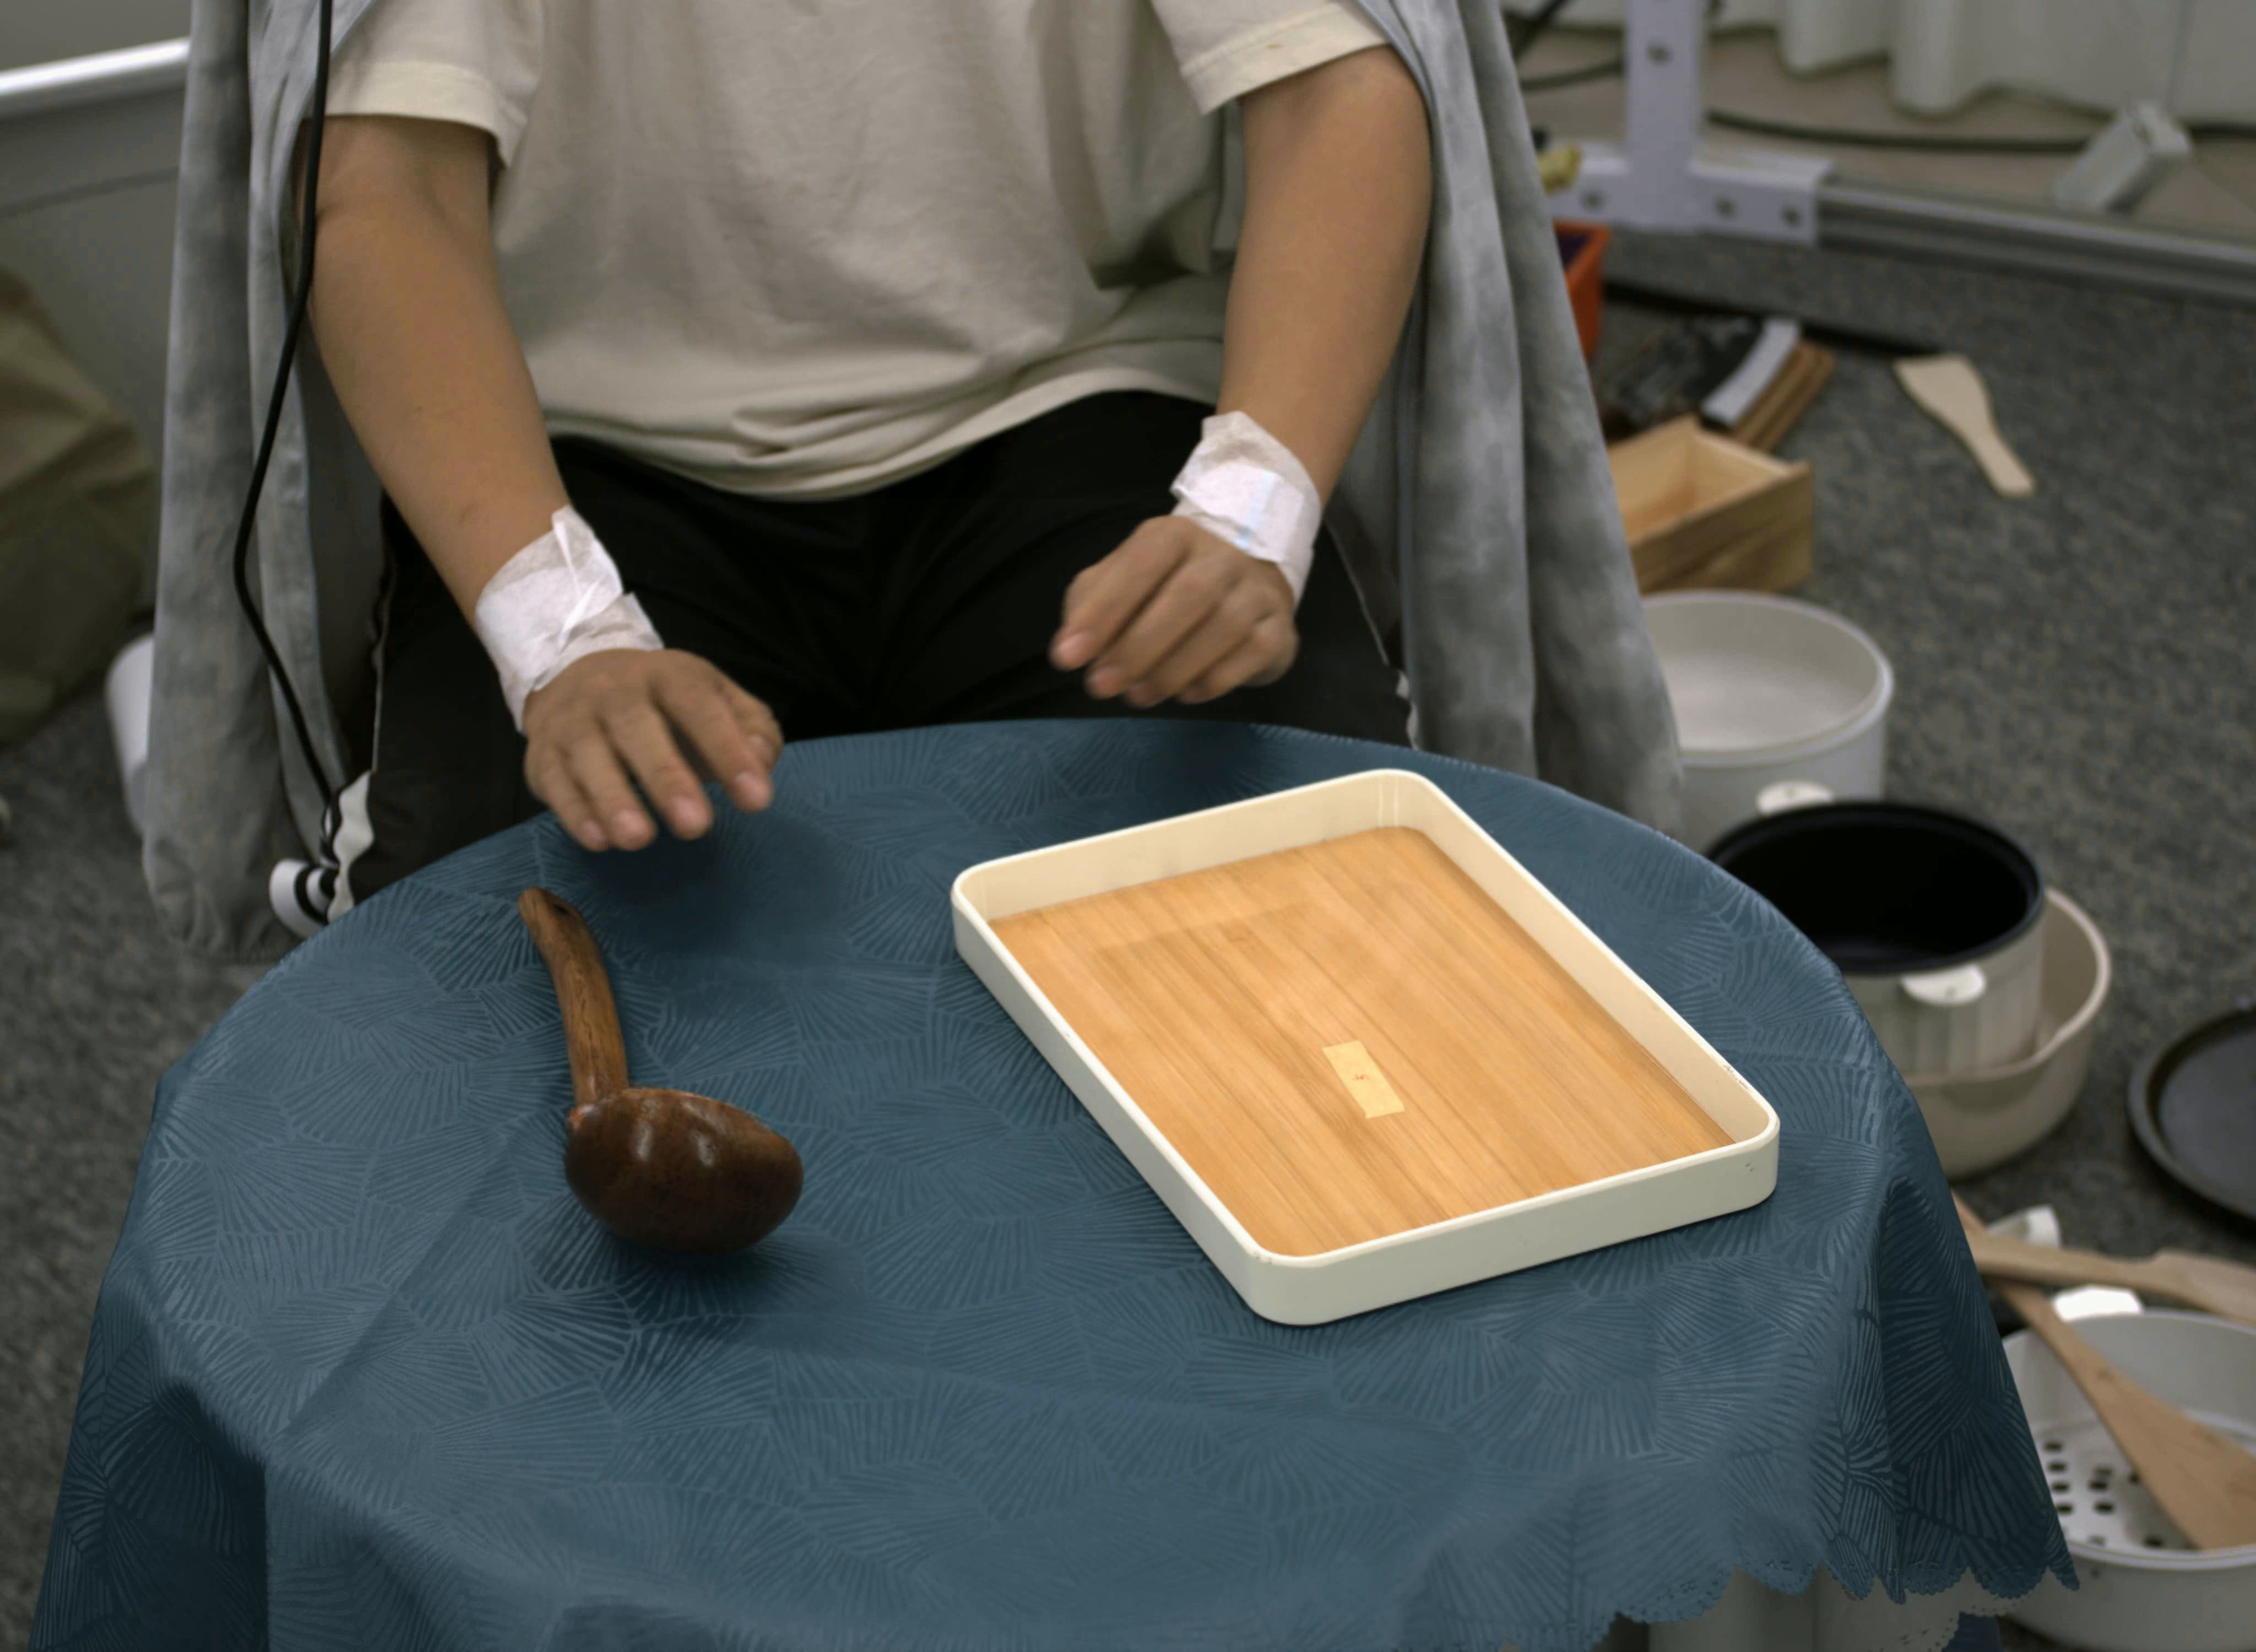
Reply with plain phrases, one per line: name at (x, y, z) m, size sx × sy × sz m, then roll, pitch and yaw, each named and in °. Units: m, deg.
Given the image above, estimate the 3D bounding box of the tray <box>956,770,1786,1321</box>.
tray at (0.077, 0.069, 1.924) m, size 0.192 × 0.027 × 0.302 m, roll -13°, pitch 29°, yaw -18°

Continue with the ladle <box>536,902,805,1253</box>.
ladle at (-0.165, 0.066, 1.910) m, size 0.081 × 0.076 × 0.277 m, roll 33°, pitch 15°, yaw -22°
